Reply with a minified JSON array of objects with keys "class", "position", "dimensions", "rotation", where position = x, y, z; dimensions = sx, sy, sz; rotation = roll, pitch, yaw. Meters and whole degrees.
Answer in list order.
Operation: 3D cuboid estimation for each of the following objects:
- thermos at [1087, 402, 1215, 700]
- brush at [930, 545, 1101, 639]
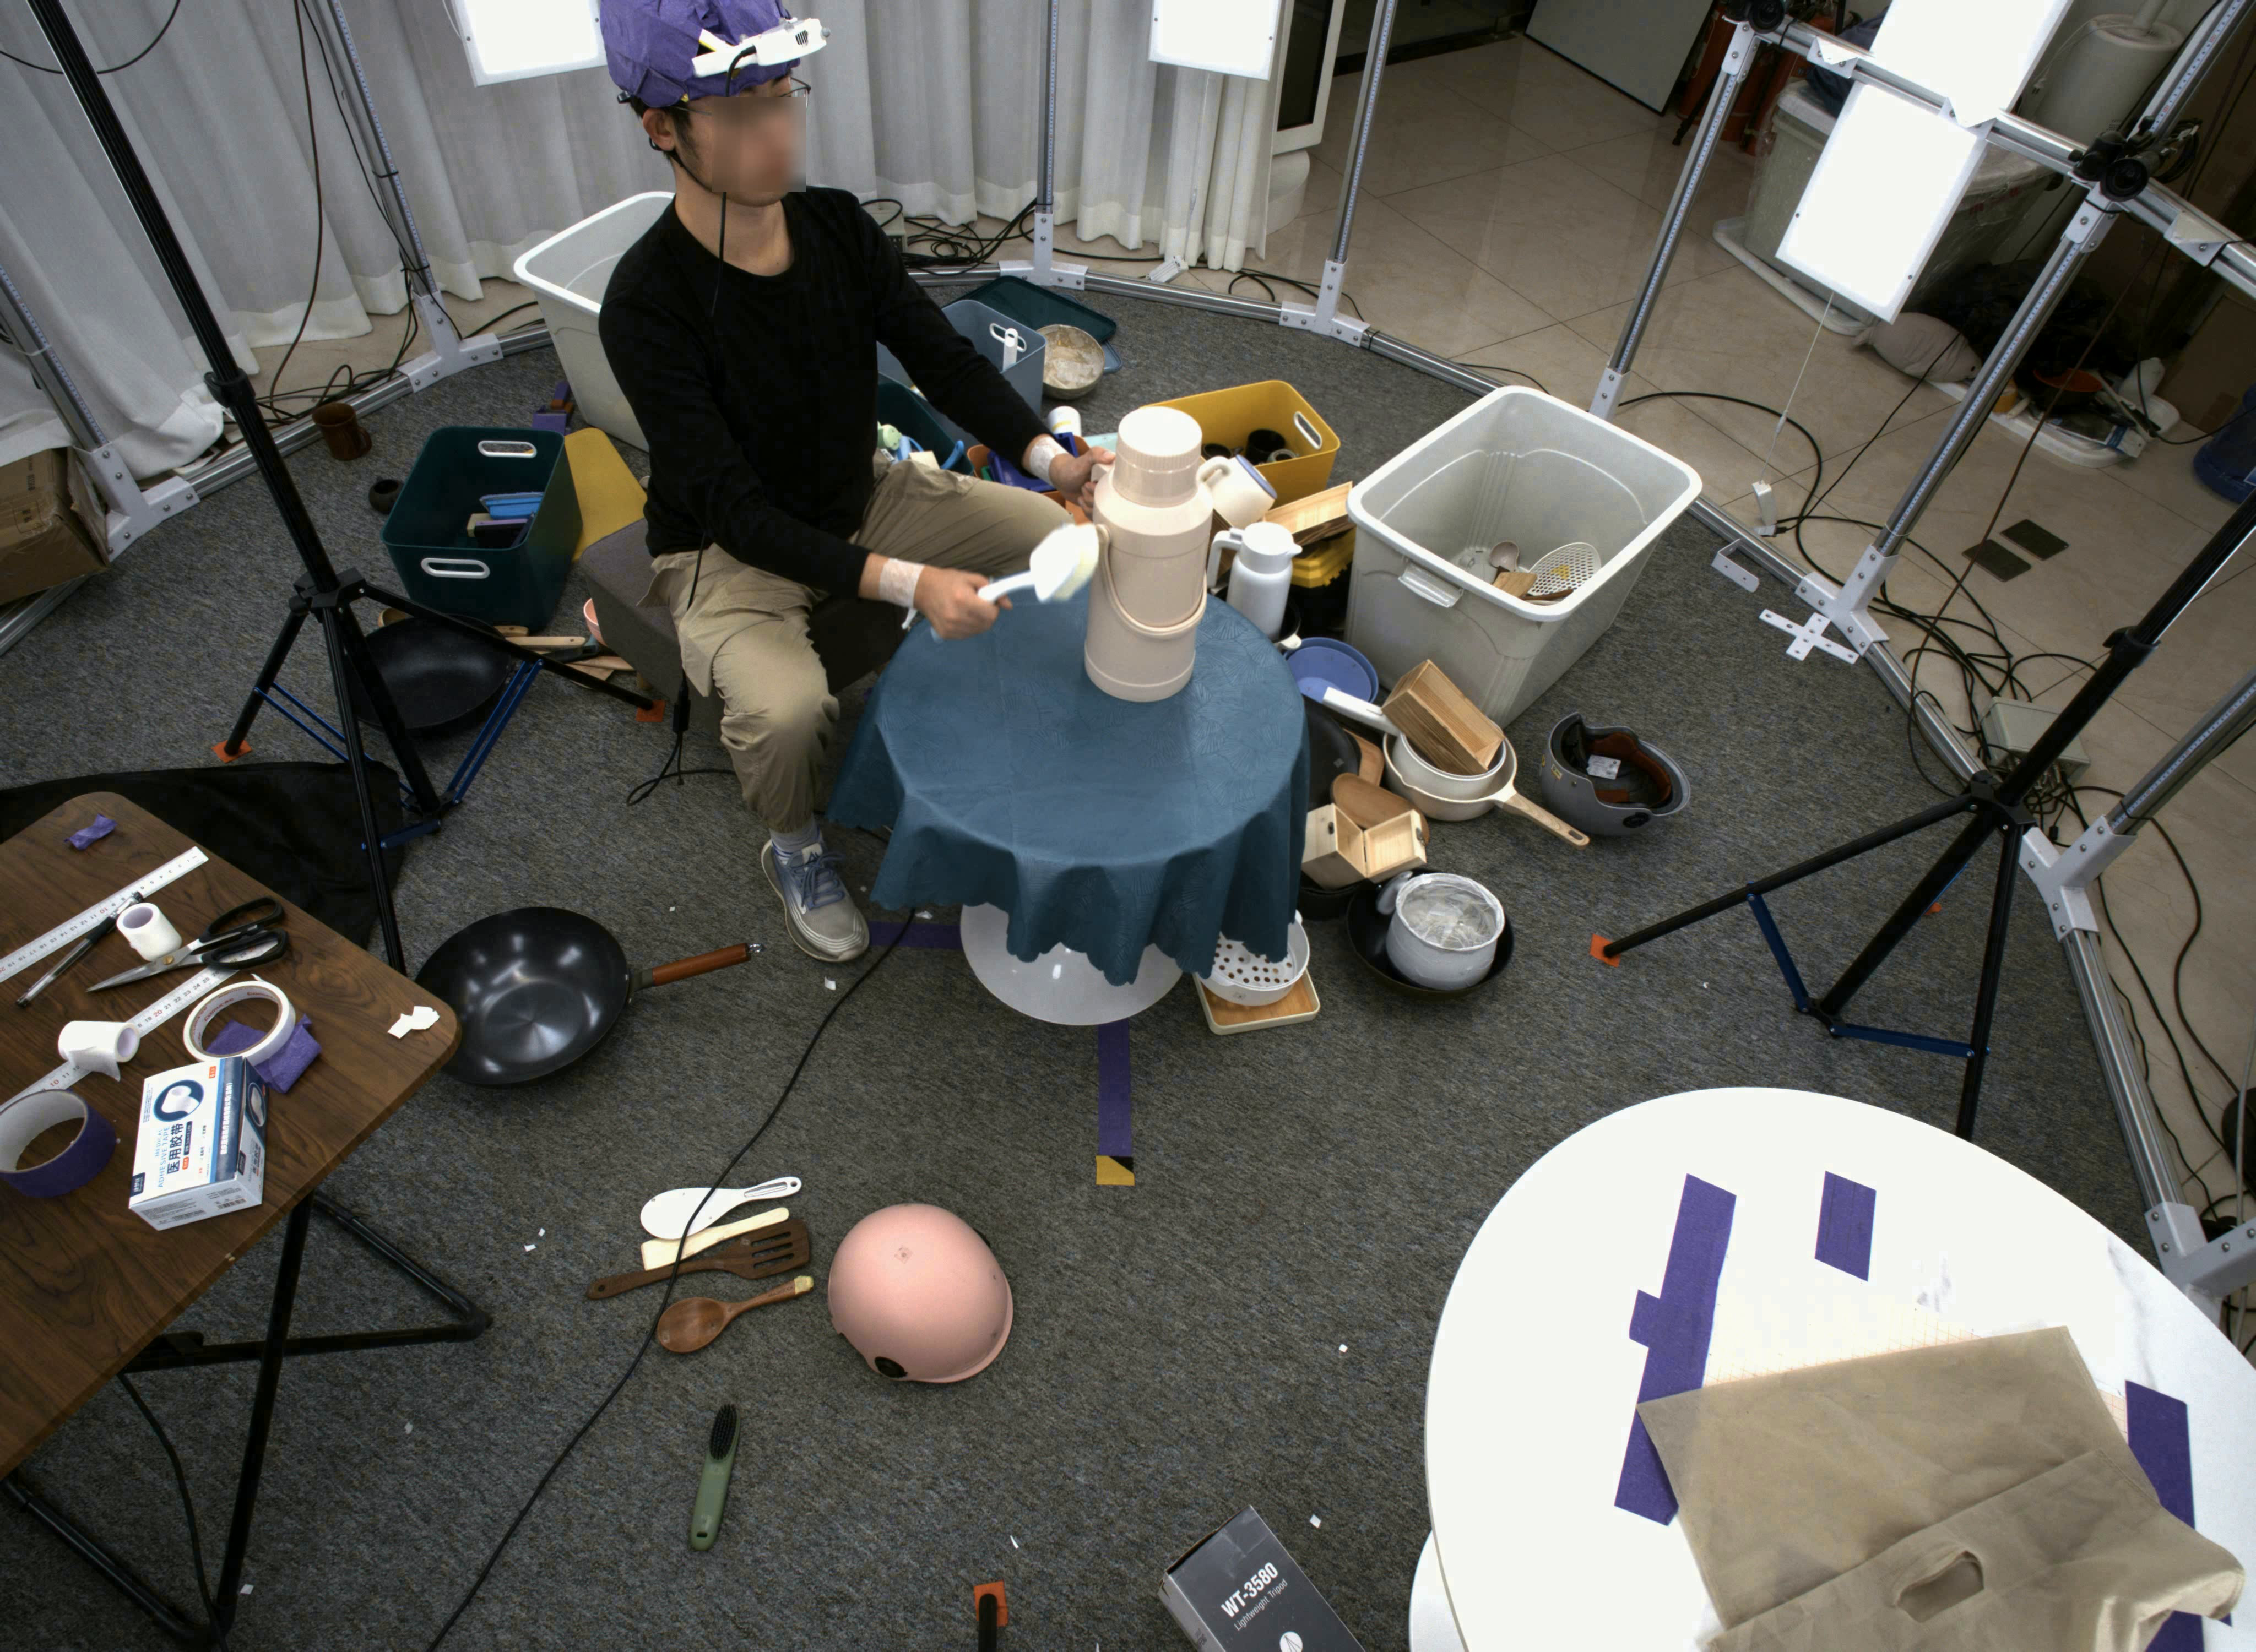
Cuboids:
[{"class":"thermos","position":[0.021,-0.374,1.740],"dimensions":[0.176,0.396,0.211],"rotation":[-31,58,-25]},{"class":"brush","position":[-0.140,-0.304,1.705],"dimensions":[0.083,0.324,0.084],"rotation":[42,54,-27]}]
